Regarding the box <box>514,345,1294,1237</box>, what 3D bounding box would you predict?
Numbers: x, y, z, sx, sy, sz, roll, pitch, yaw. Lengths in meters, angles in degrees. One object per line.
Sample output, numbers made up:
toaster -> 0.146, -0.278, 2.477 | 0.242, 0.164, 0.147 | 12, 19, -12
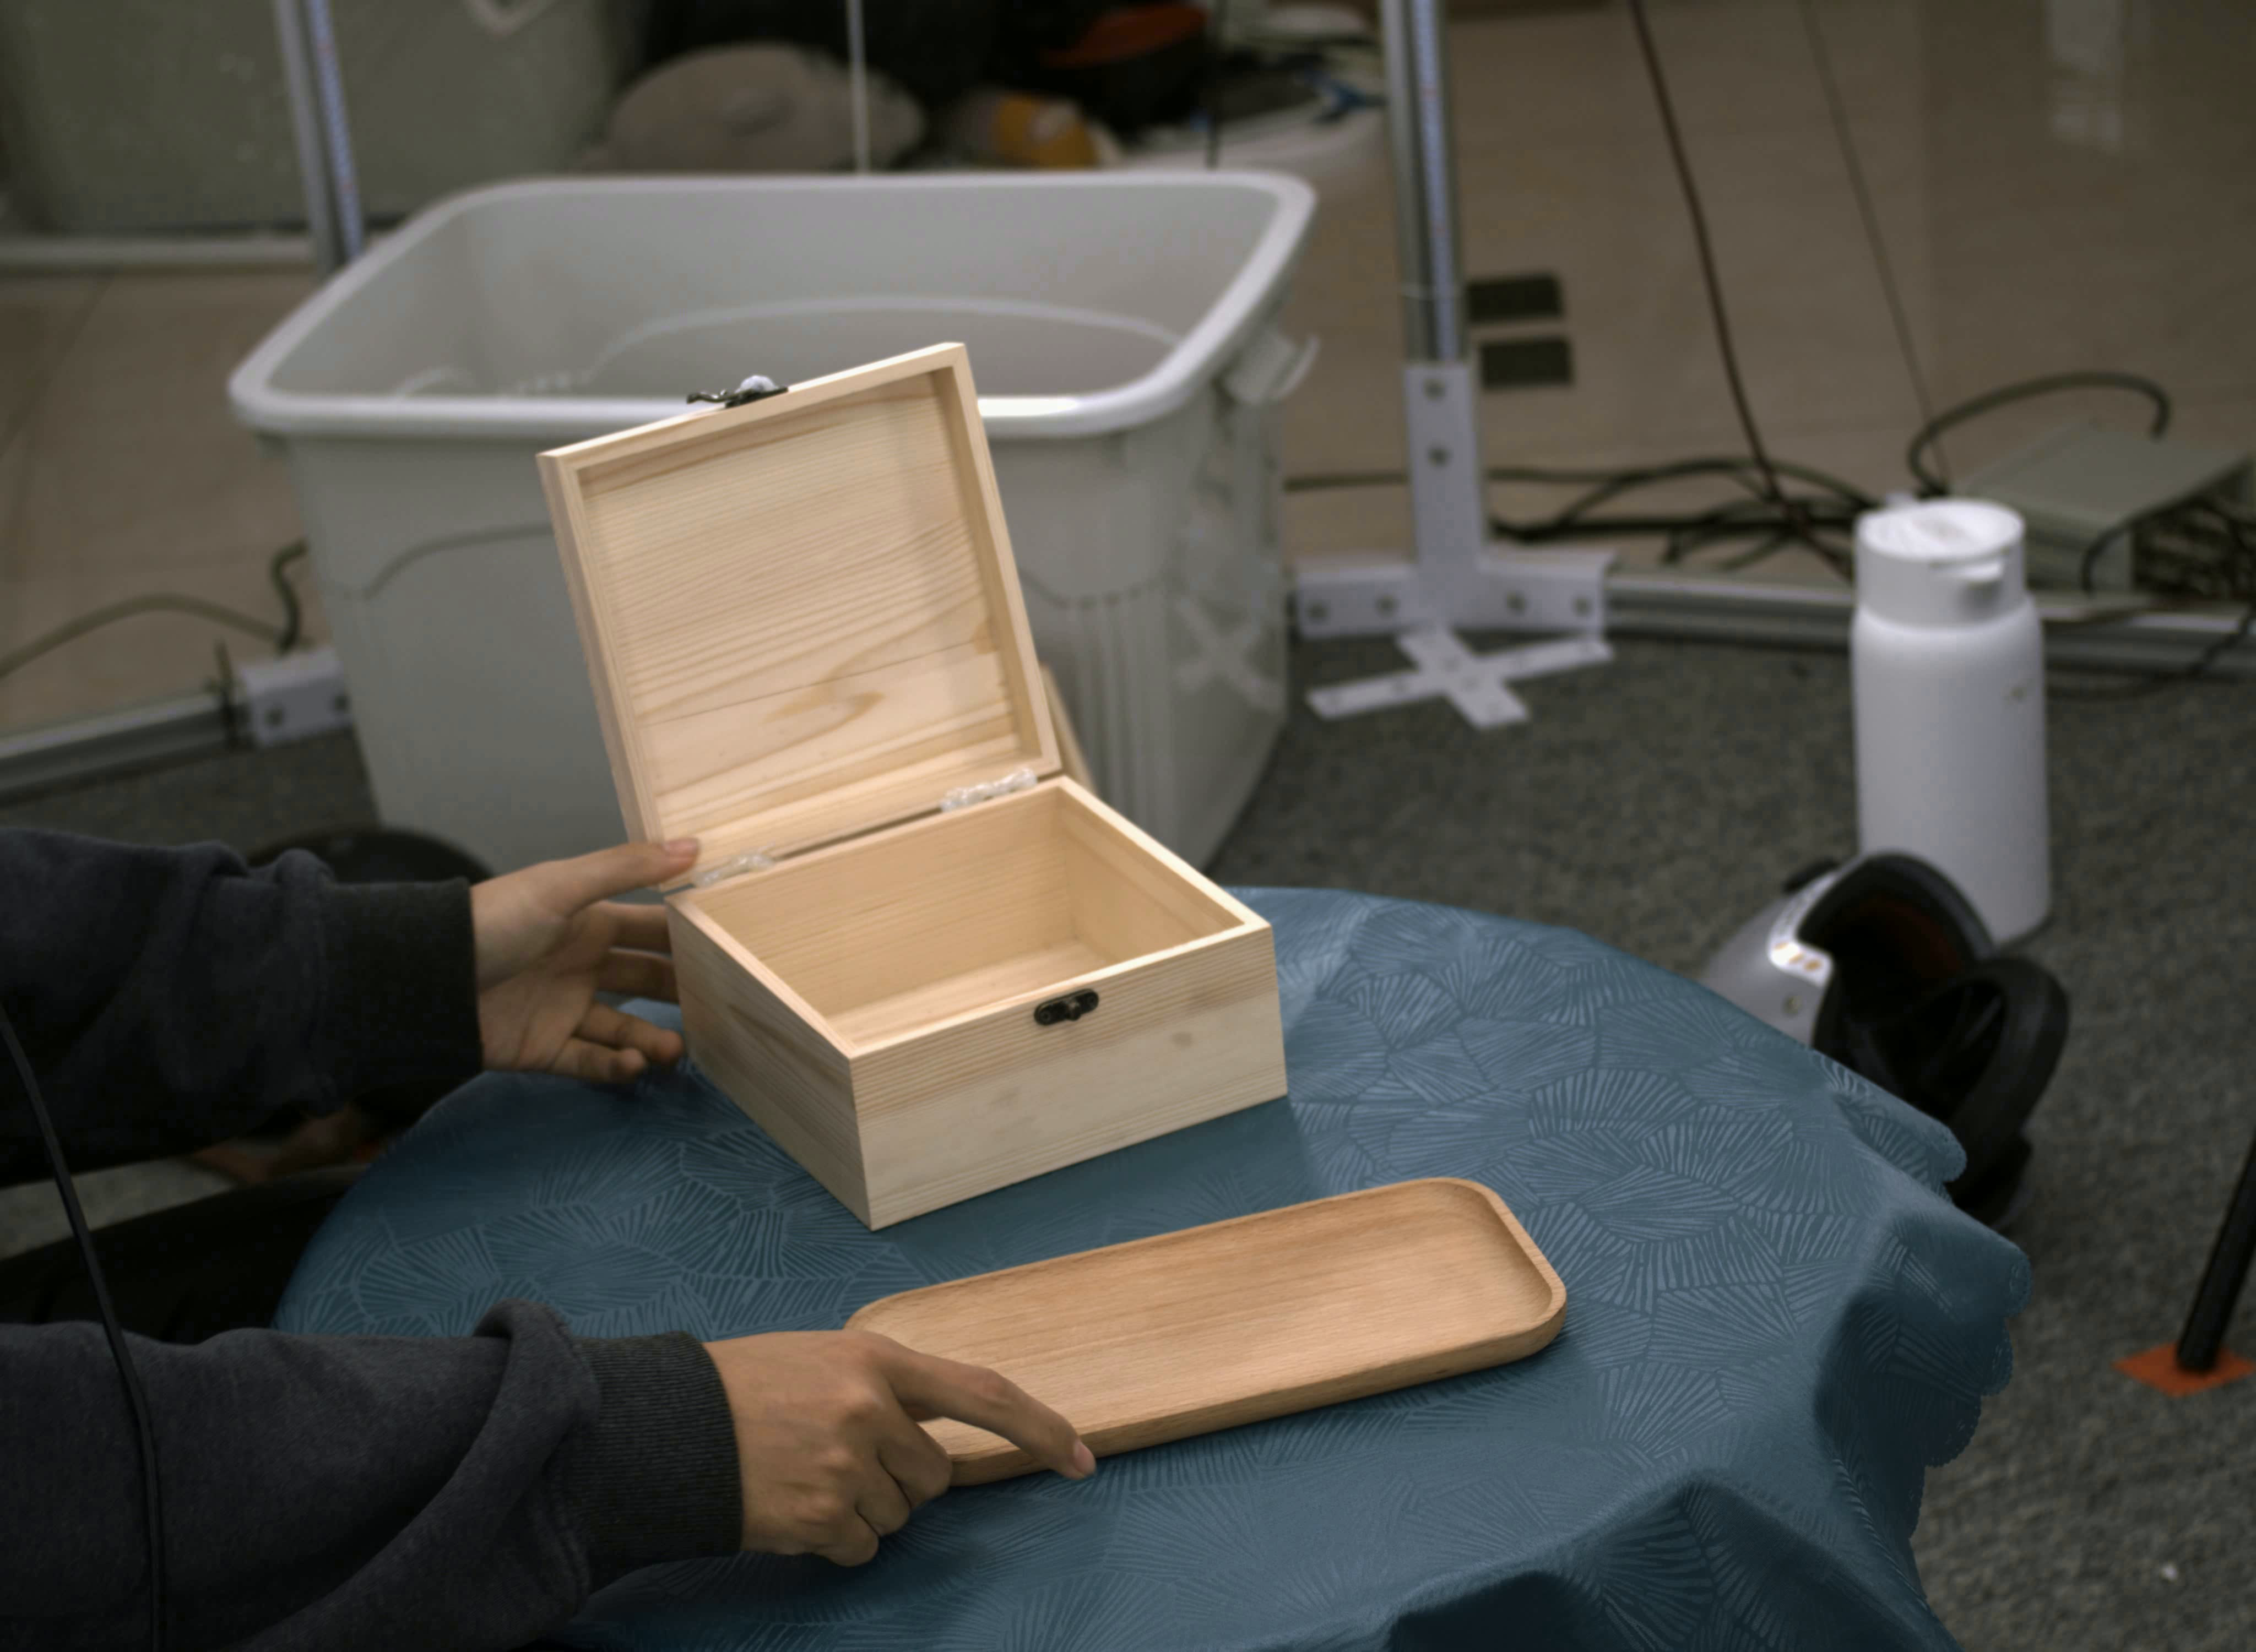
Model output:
box -> -0.088, -0.021, 2.219 | 0.181, 0.257, 0.262 | -20, 27, -21

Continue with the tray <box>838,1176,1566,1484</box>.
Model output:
tray -> 0.026, 0.180, 2.032 | 0.250, 0.023, 0.129 | -12, 23, -10
